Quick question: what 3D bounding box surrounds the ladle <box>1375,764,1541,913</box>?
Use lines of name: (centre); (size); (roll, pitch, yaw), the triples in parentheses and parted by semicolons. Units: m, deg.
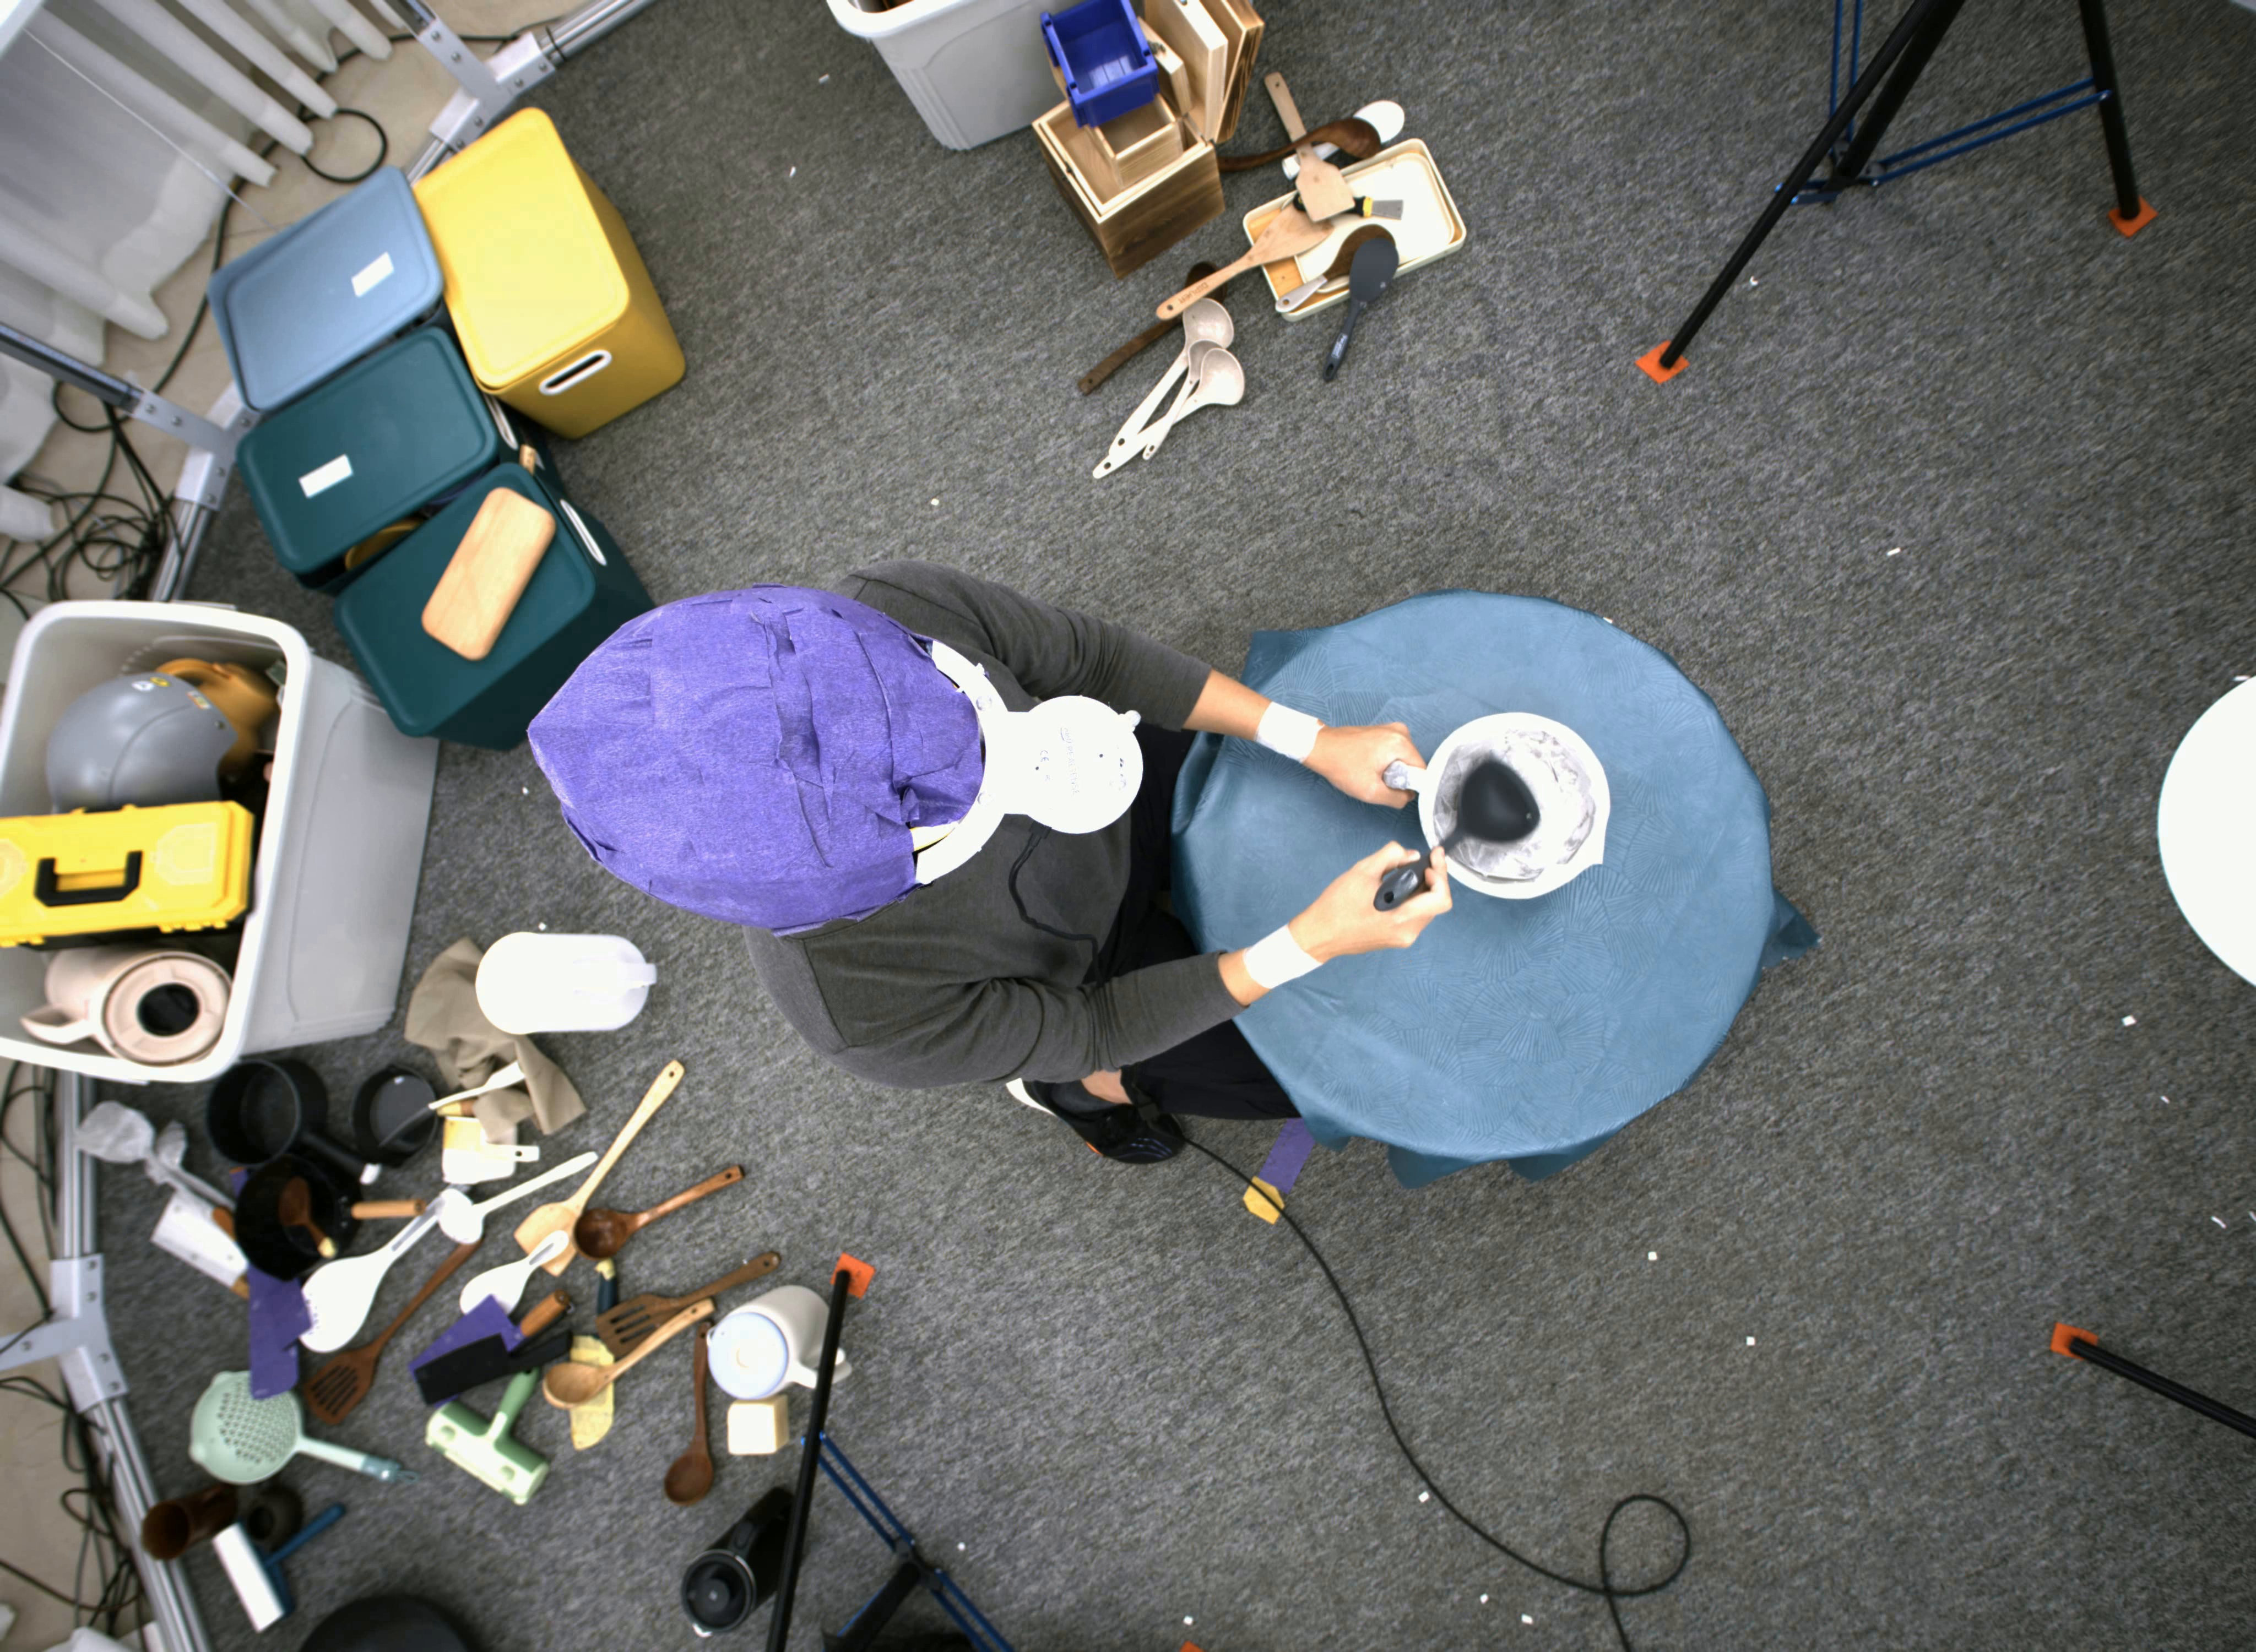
ladle: (0.303, 0.014, 1.265); (0.065, 0.308, 0.086); (-43, 81, 34)

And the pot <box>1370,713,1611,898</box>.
pot: (0.355, -0.033, 1.372); (0.234, 0.135, 0.180); (15, 99, 12)
